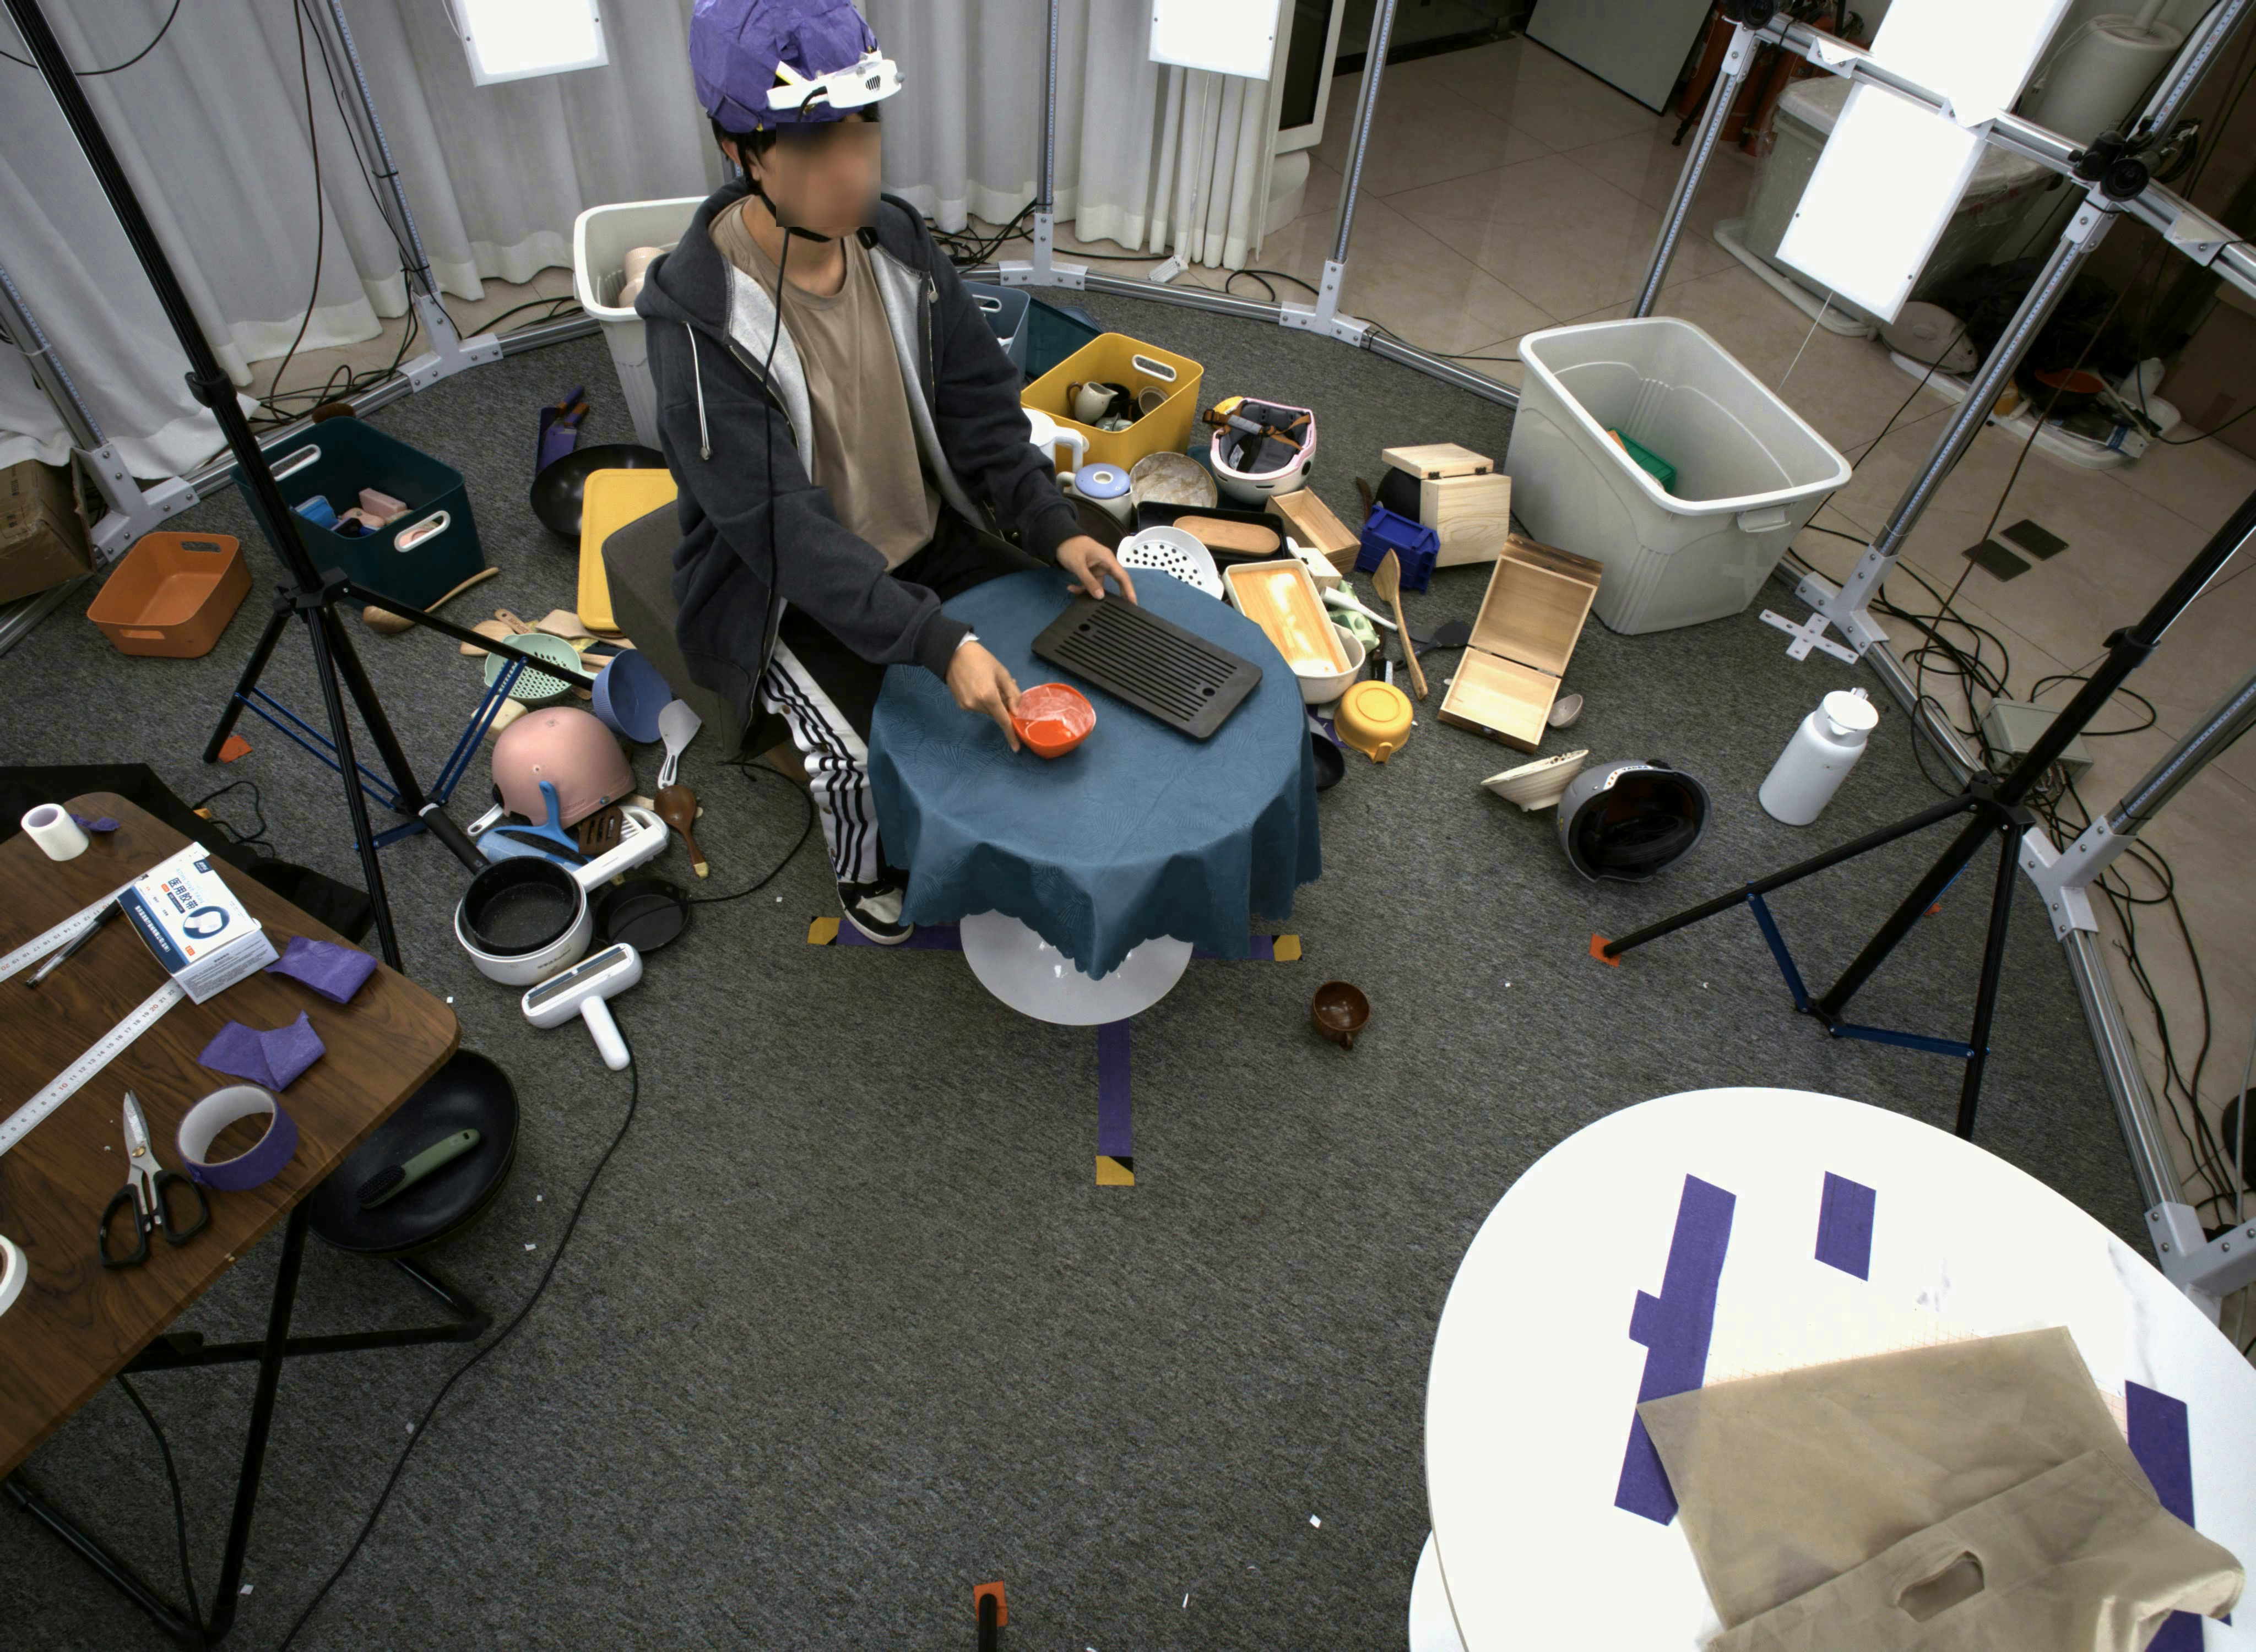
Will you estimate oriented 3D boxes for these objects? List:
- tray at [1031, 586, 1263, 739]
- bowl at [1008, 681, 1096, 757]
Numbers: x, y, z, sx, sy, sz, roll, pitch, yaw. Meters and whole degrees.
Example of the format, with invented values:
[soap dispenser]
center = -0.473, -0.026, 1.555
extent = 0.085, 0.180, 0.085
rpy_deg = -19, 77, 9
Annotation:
[tray]
center = 0.027, -0.239, 1.860
extent = 0.309, 0.018, 0.172
rpy_deg = 29, 55, 20
[bowl]
center = -0.104, -0.138, 1.737
extent = 0.119, 0.050, 0.122
rpy_deg = 2, 51, -3
